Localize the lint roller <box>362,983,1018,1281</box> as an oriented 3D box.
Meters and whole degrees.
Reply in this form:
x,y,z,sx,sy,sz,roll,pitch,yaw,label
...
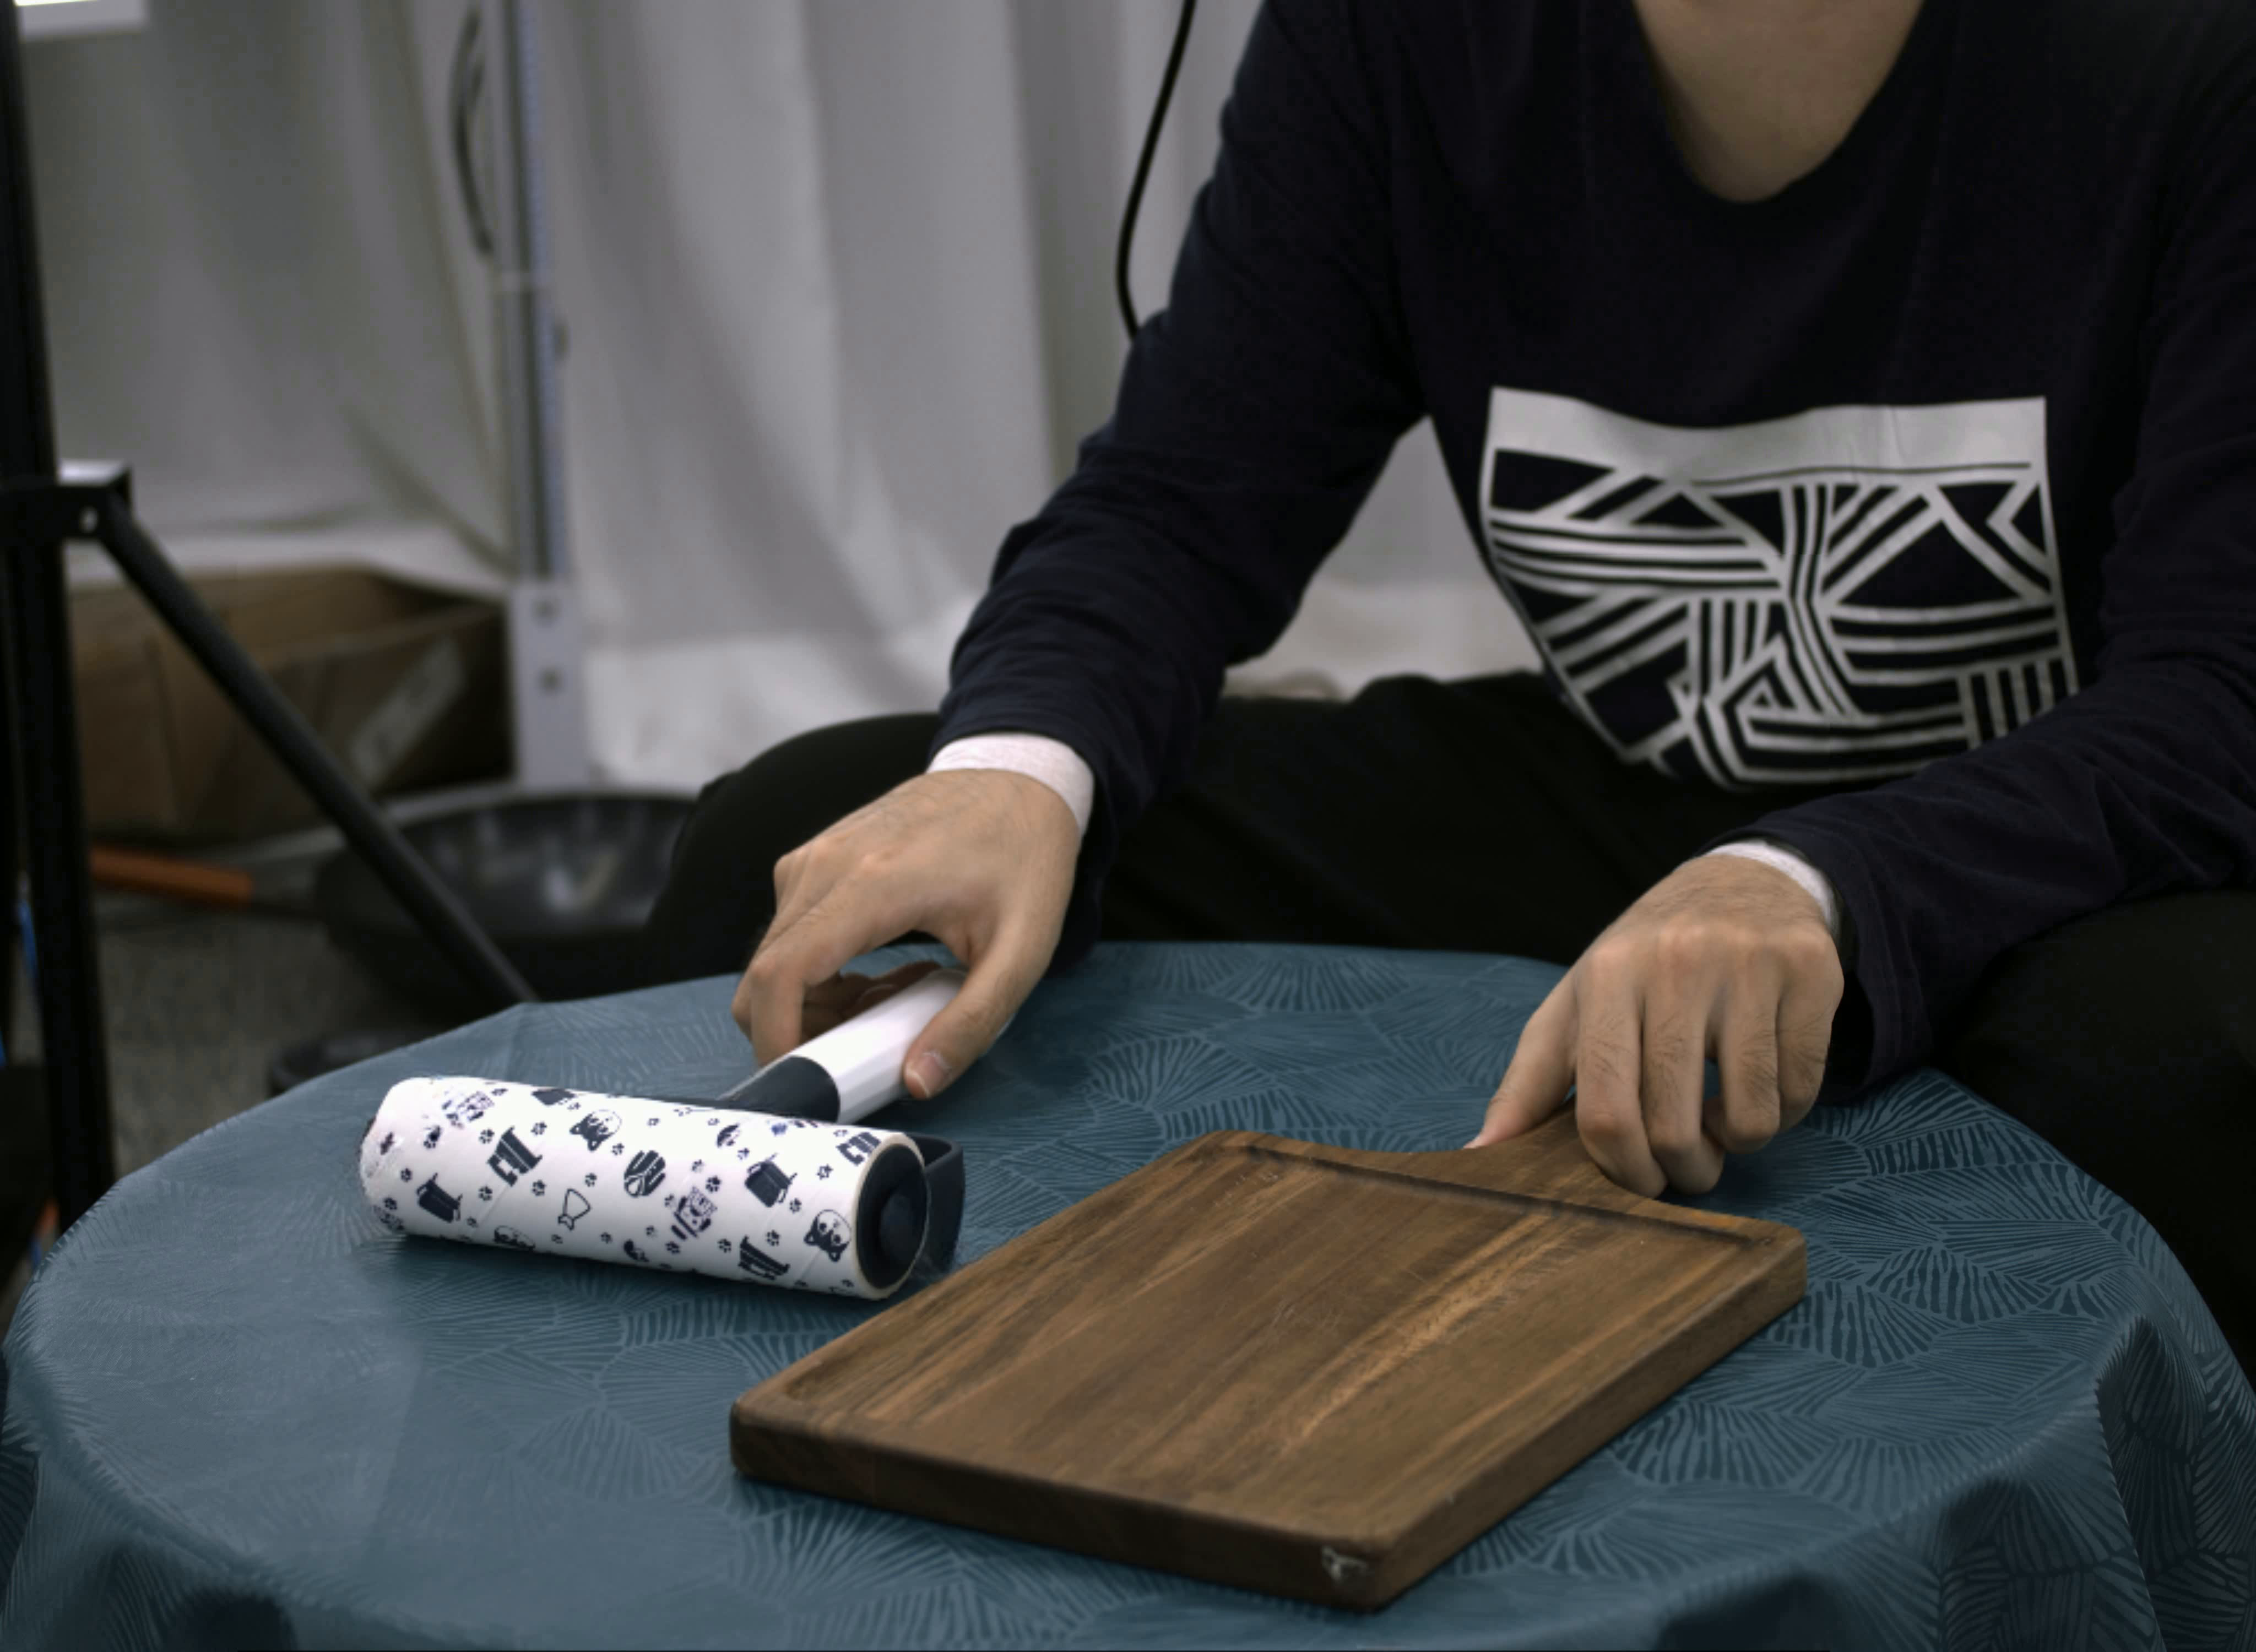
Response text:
x,y,z,sx,sy,sz,roll,pitch,yaw,label
-0.096,0.078,1.608,0.179,0.050,0.243,4,14,25,lint roller

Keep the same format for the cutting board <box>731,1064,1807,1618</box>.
x,y,z,sx,sy,sz,roll,pitch,yaw,label
0.069,0.126,1.447,0.205,0.023,0.345,8,19,31,cutting board
